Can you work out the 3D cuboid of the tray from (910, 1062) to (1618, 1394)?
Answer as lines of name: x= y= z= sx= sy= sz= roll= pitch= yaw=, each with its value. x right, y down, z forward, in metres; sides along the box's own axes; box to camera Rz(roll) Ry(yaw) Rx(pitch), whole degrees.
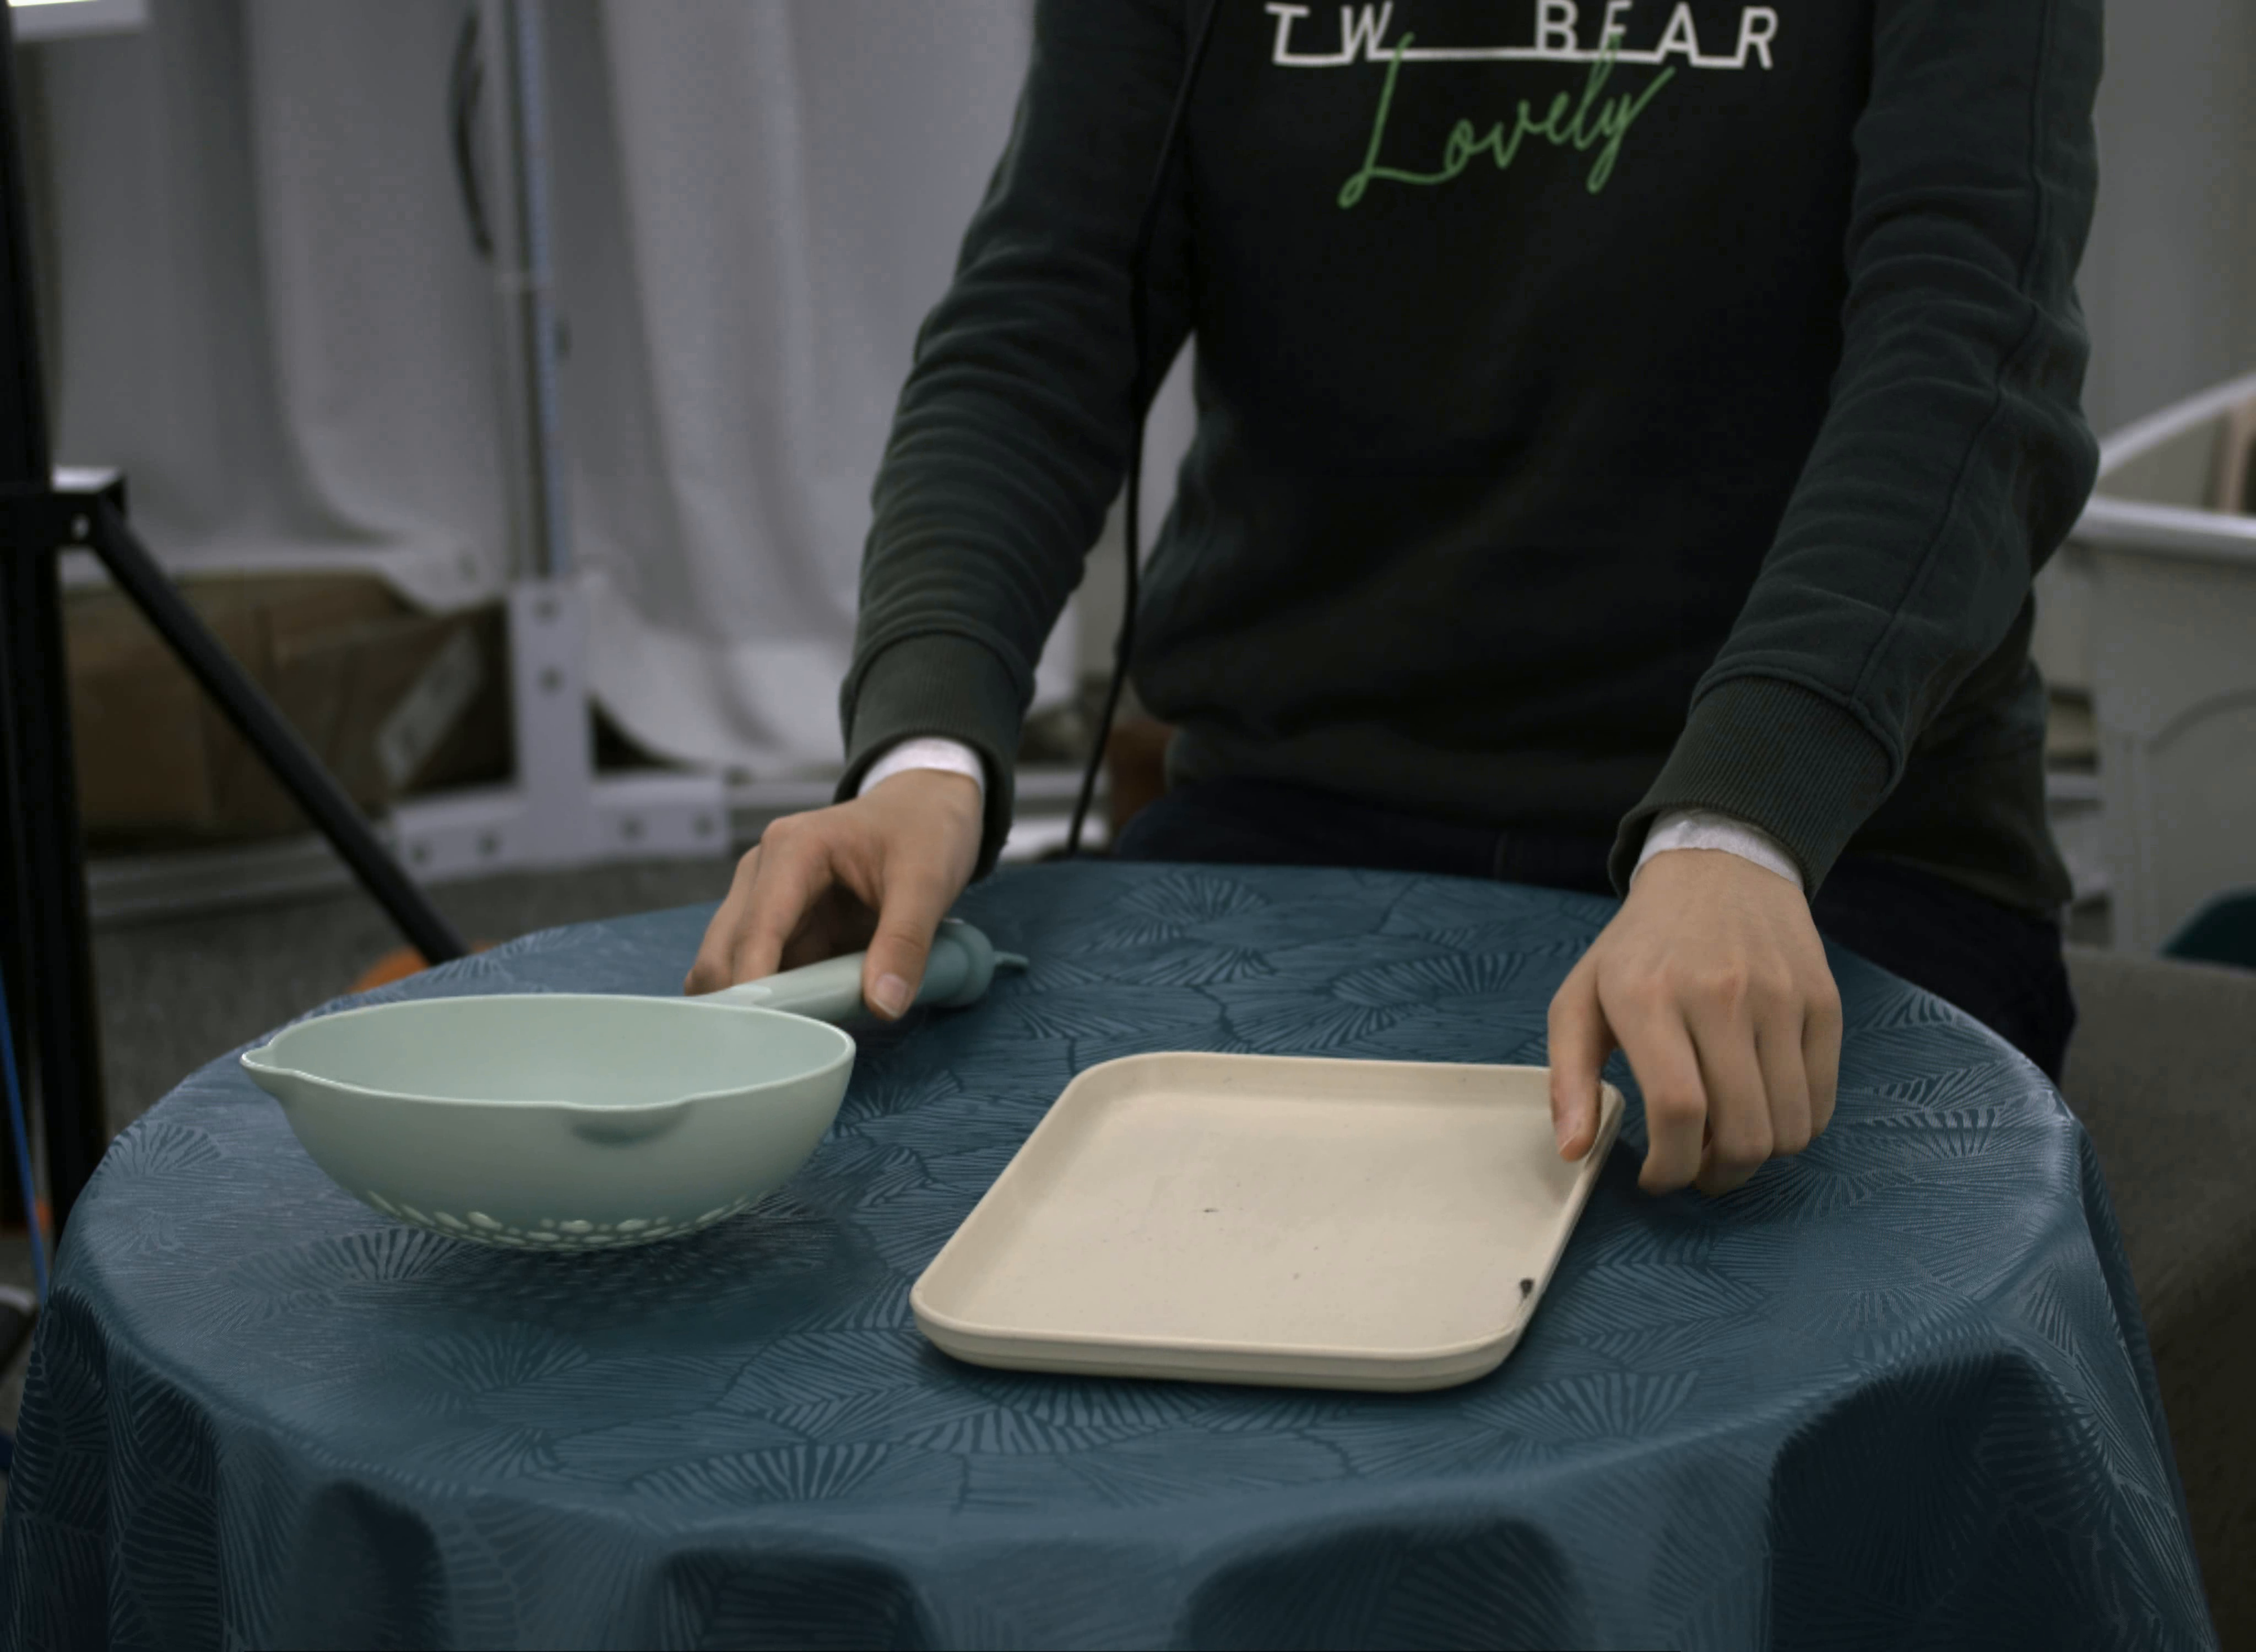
tray: x=0.044 y=0.113 z=1.505 sx=0.172 sy=0.017 sz=0.238 roll=2 pitch=15 yaw=14

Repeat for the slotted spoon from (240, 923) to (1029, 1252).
slotted spoon: x=-0.119 y=0.064 z=1.617 sx=0.172 sy=0.075 sz=0.353 roll=5 pitch=17 yaw=27
